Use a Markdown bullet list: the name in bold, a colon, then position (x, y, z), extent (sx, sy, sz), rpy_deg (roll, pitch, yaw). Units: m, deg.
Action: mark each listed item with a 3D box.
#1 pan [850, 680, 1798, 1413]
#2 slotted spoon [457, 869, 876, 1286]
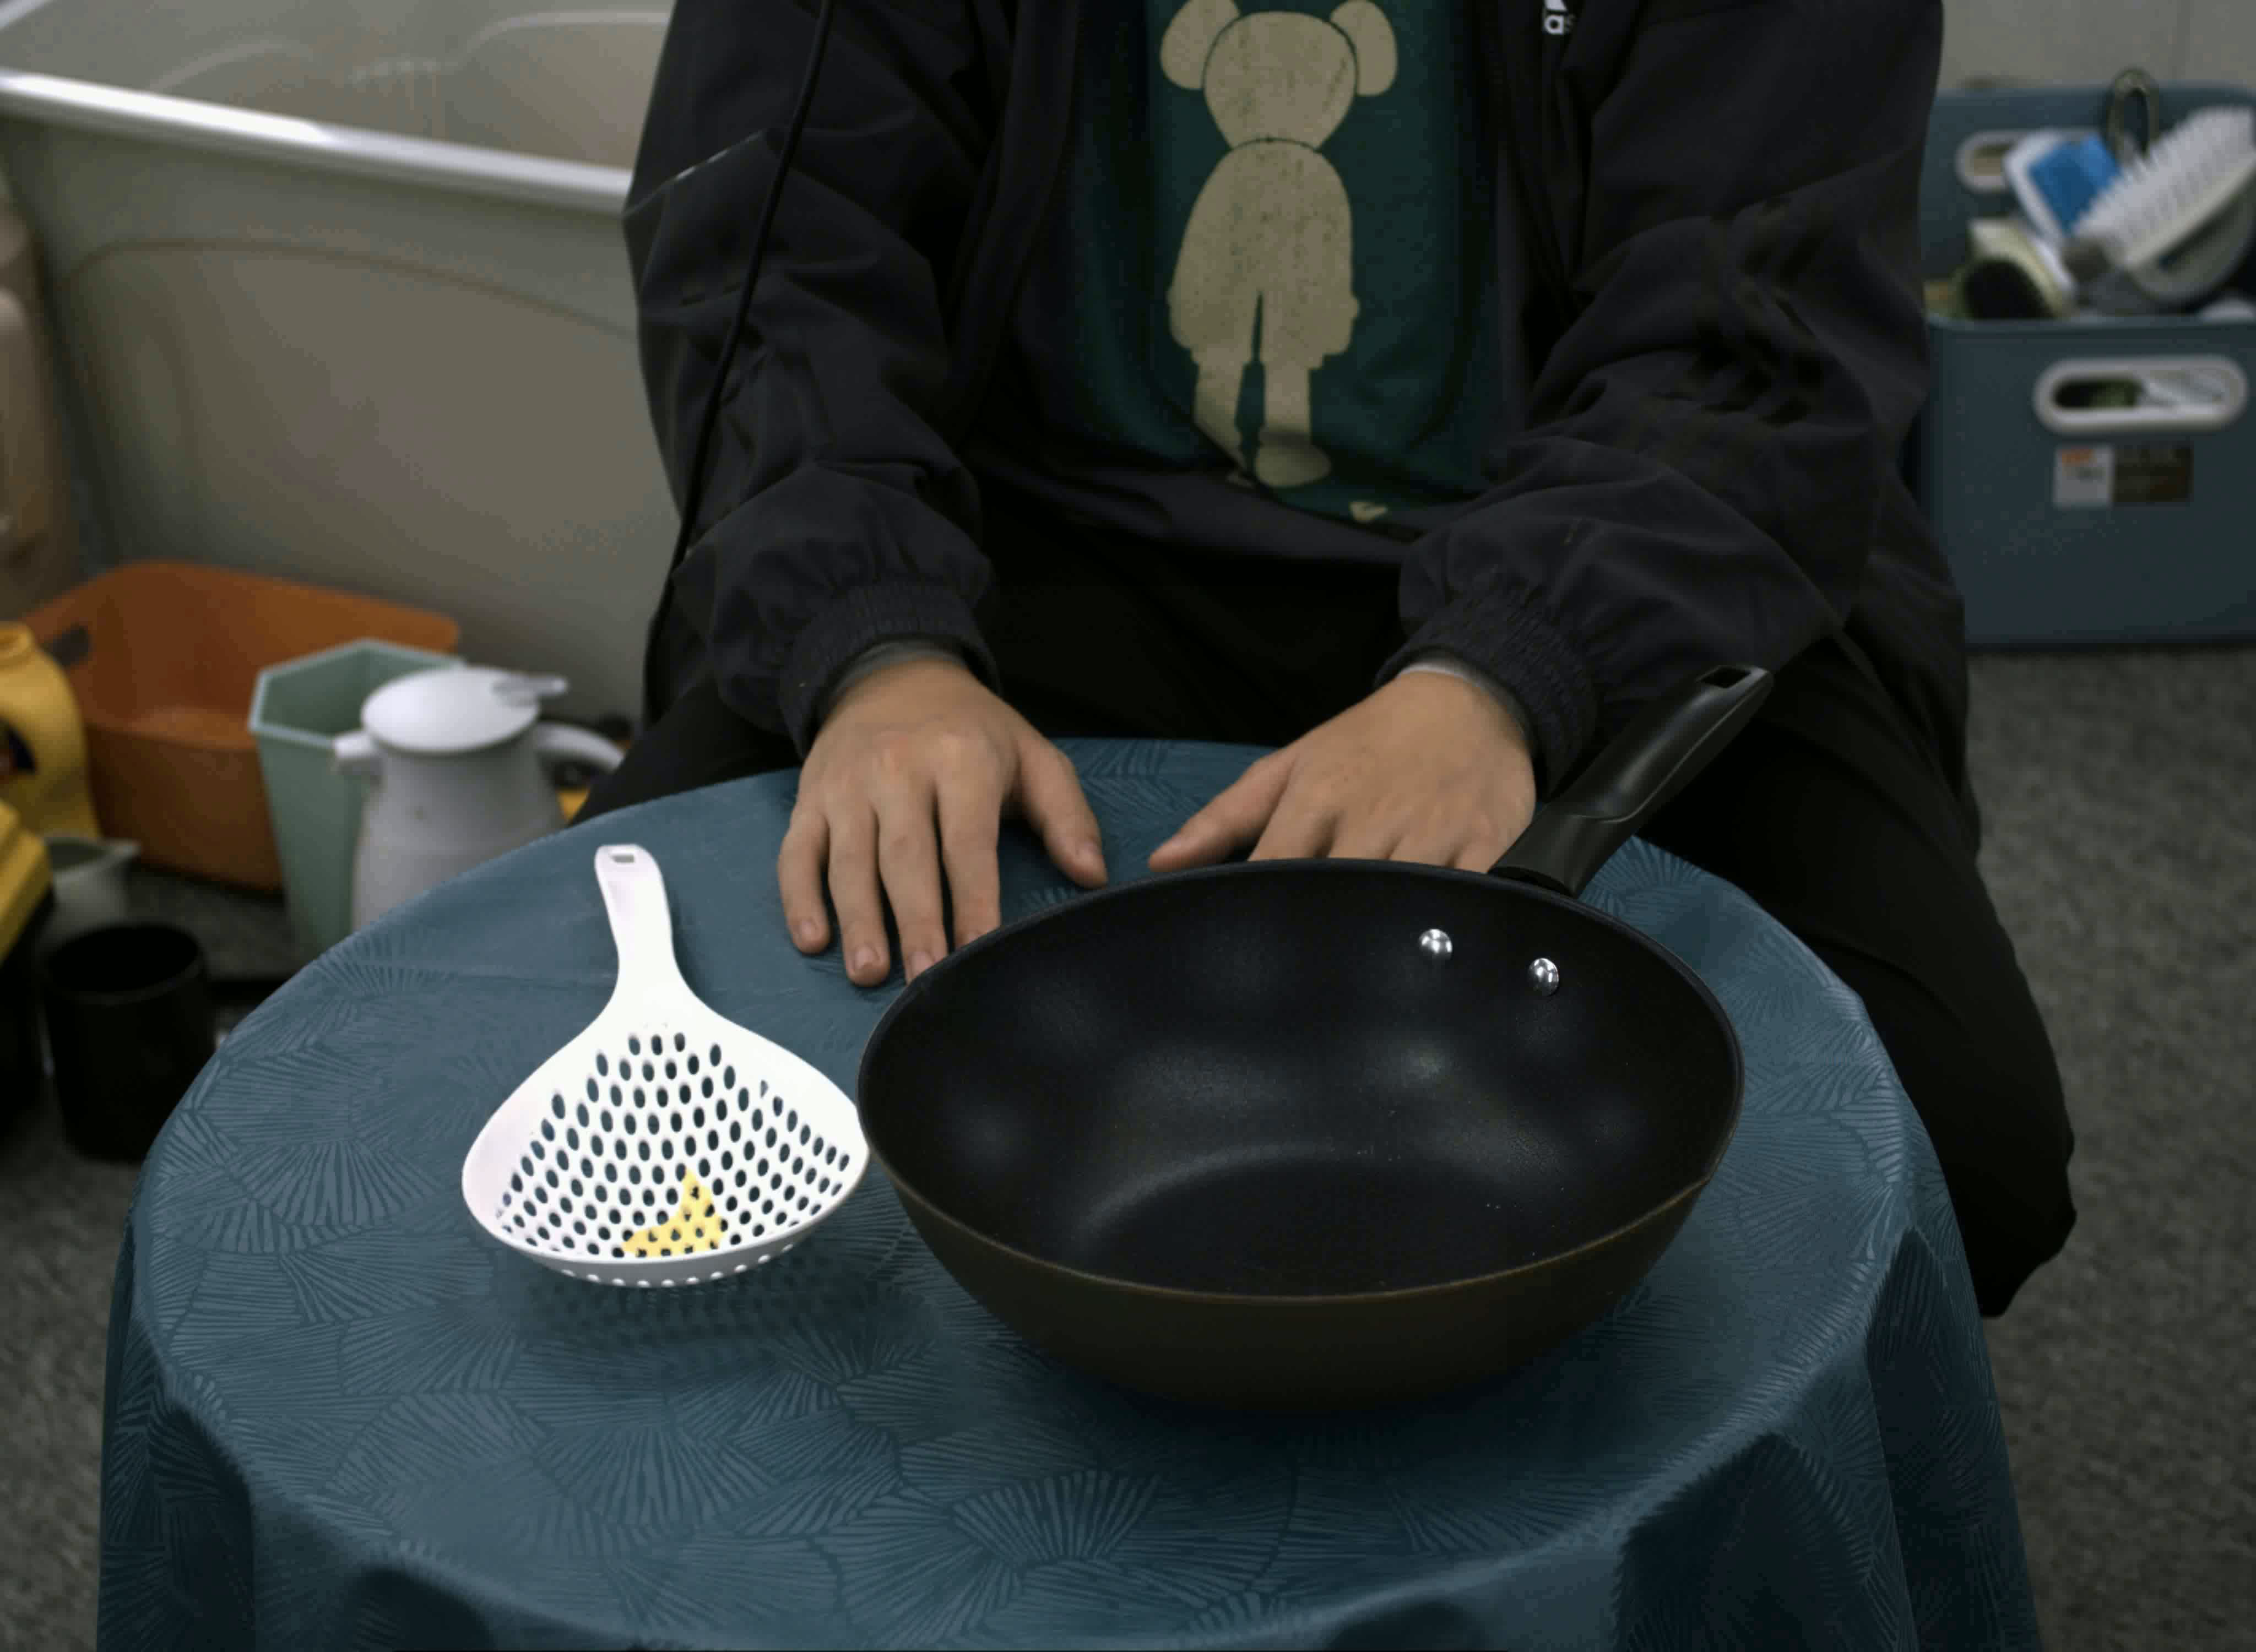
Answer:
- **pan**: position (0.102, 0.072, 1.857), extent (0.286, 0.086, 0.470), rpy_deg (14, 30, 28)
- **slotted spoon**: position (-0.163, 0.074, 1.924), extent (0.136, 0.050, 0.352), rpy_deg (-7, 27, -5)
